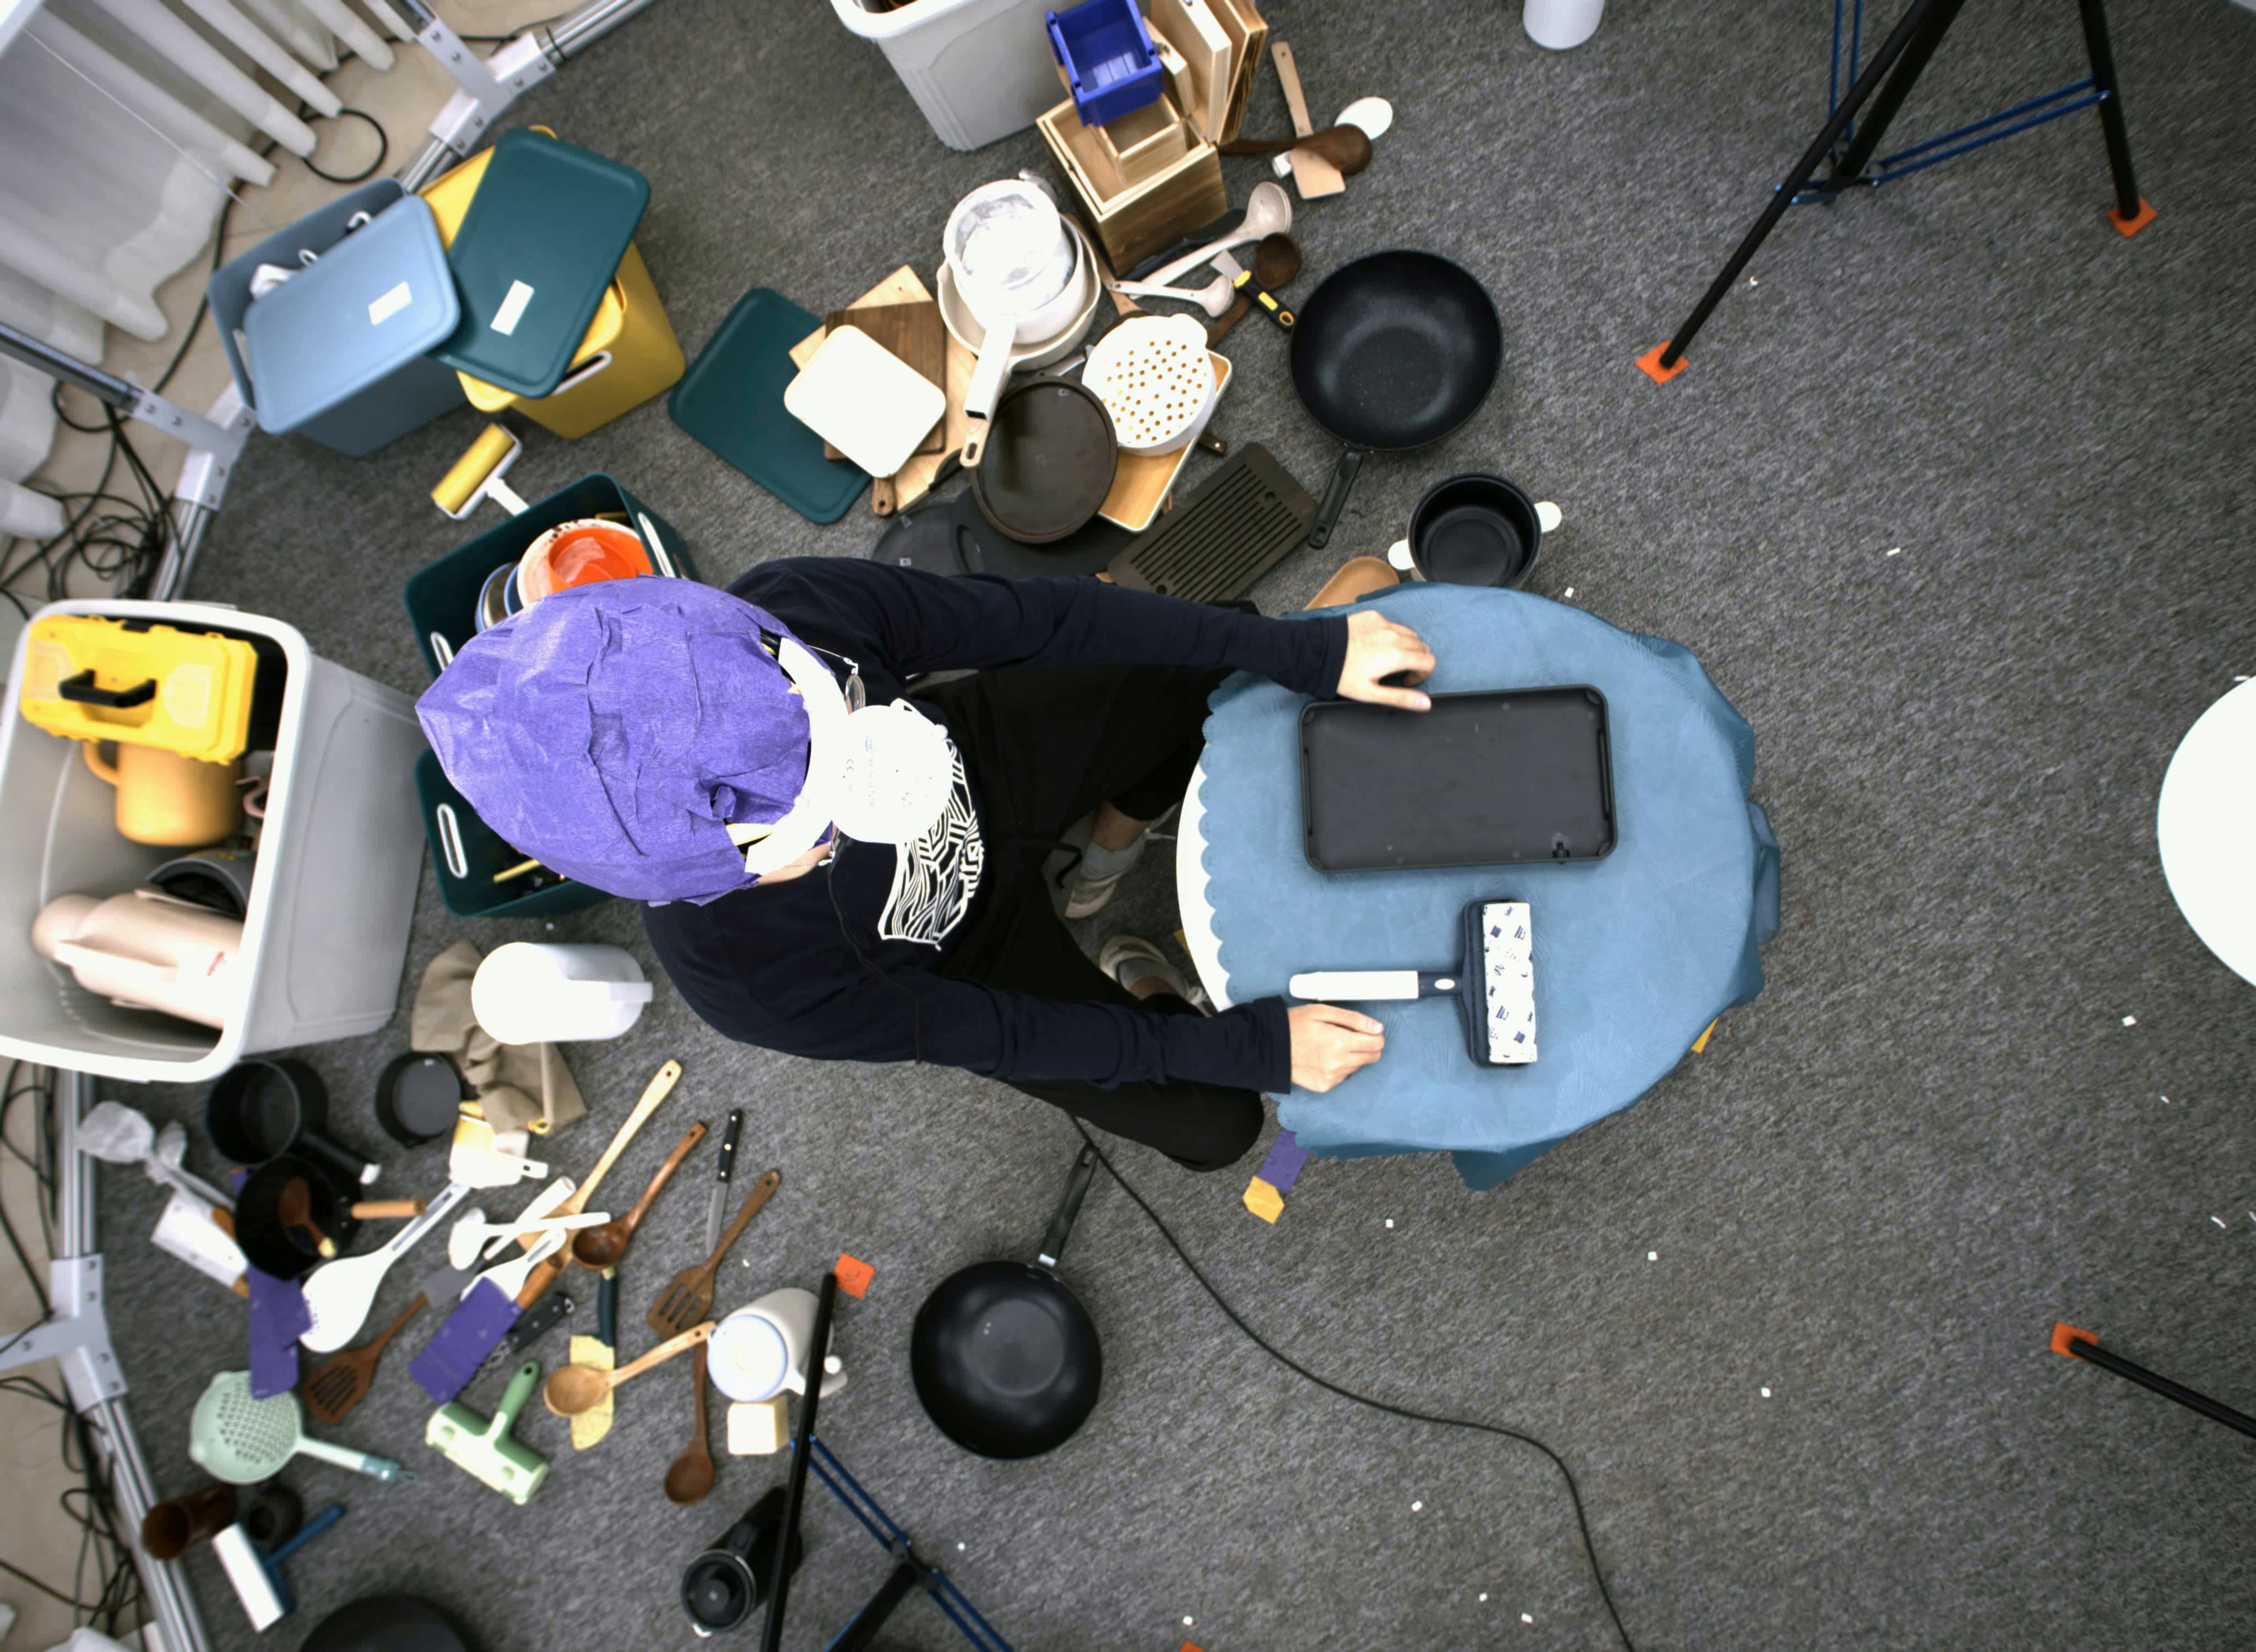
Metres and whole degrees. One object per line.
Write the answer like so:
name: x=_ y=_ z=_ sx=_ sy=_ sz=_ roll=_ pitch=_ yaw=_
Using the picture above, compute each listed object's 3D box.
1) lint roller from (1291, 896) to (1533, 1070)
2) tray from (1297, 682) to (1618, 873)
lint roller: x=0.291 y=0.164 z=1.431 sx=0.248 sy=0.050 sz=0.175 roll=-4 pitch=87 yaw=14
tray: x=0.340 y=-0.050 z=1.435 sx=0.319 sy=0.037 sz=0.183 roll=-3 pitch=86 yaw=11
